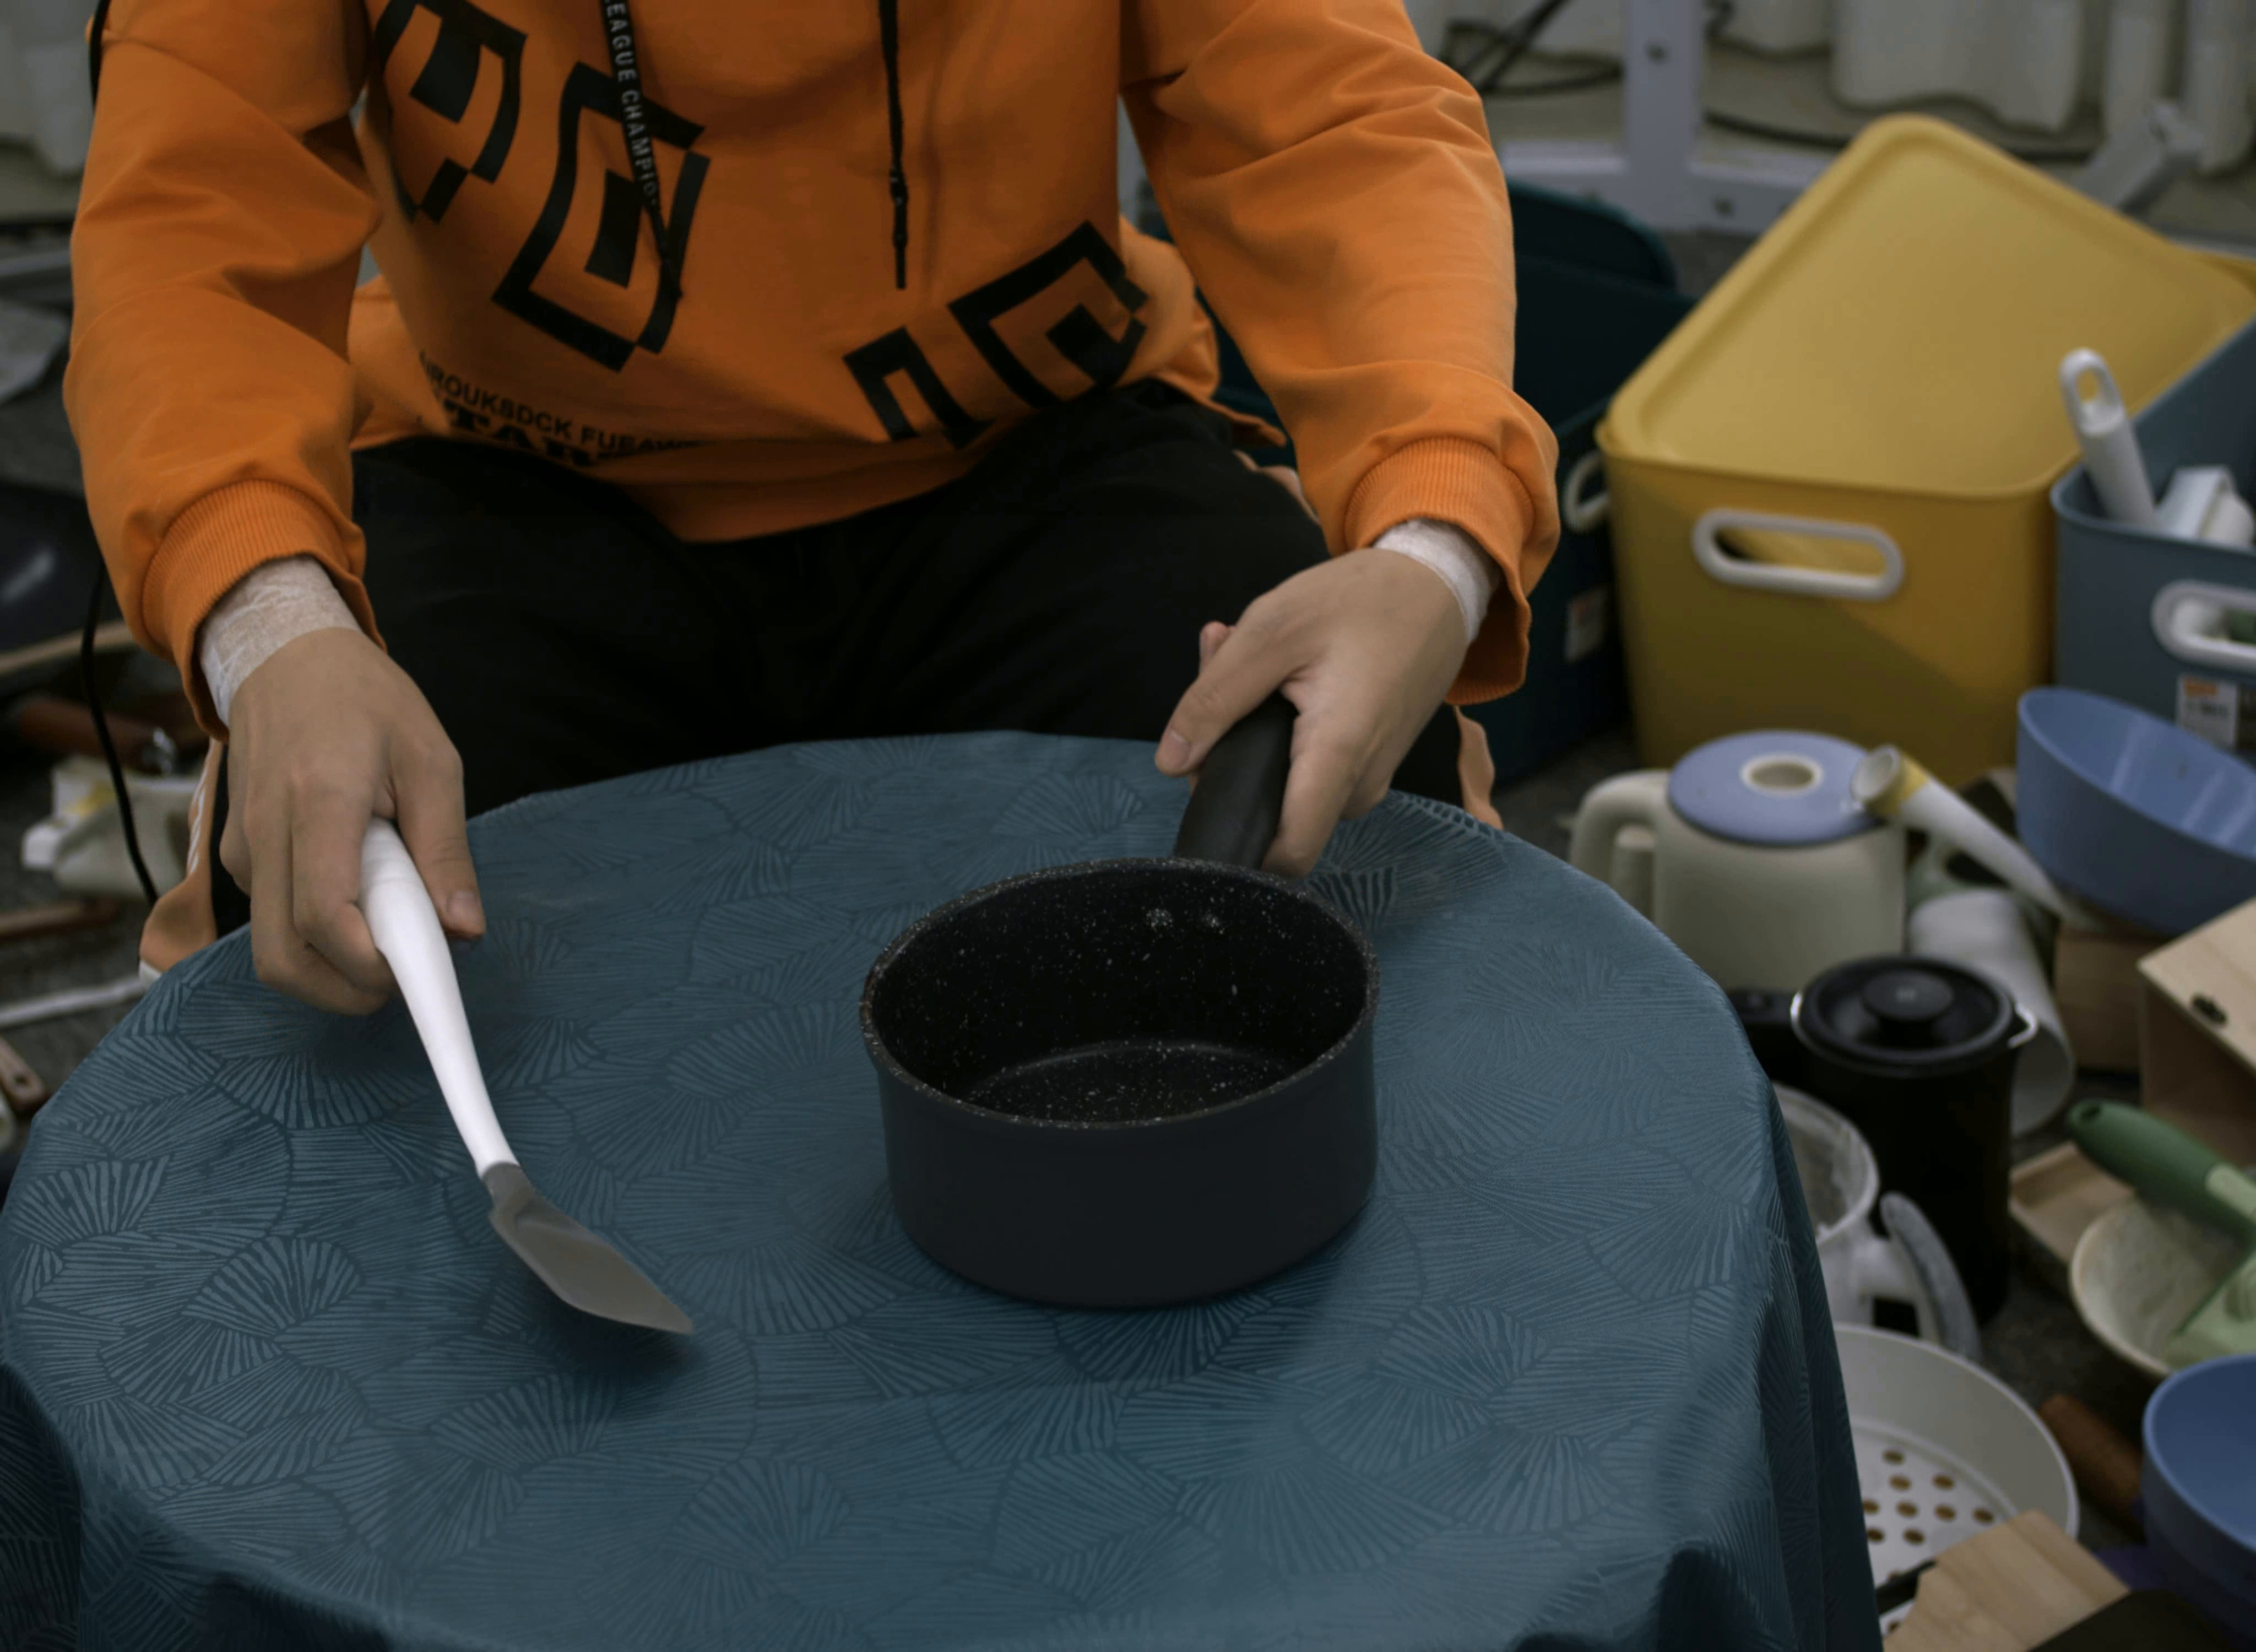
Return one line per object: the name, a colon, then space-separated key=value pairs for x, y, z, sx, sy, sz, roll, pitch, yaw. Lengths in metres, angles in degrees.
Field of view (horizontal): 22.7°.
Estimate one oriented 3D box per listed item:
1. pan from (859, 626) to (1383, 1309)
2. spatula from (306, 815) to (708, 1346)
pan: x=0.024 y=0.044 z=1.914 sx=0.171 sy=0.085 sz=0.335 roll=7 pitch=31 yaw=17
spatula: x=-0.214 y=0.088 z=1.866 sx=0.058 sy=0.032 sz=0.290 roll=22 pitch=20 yaw=-39
